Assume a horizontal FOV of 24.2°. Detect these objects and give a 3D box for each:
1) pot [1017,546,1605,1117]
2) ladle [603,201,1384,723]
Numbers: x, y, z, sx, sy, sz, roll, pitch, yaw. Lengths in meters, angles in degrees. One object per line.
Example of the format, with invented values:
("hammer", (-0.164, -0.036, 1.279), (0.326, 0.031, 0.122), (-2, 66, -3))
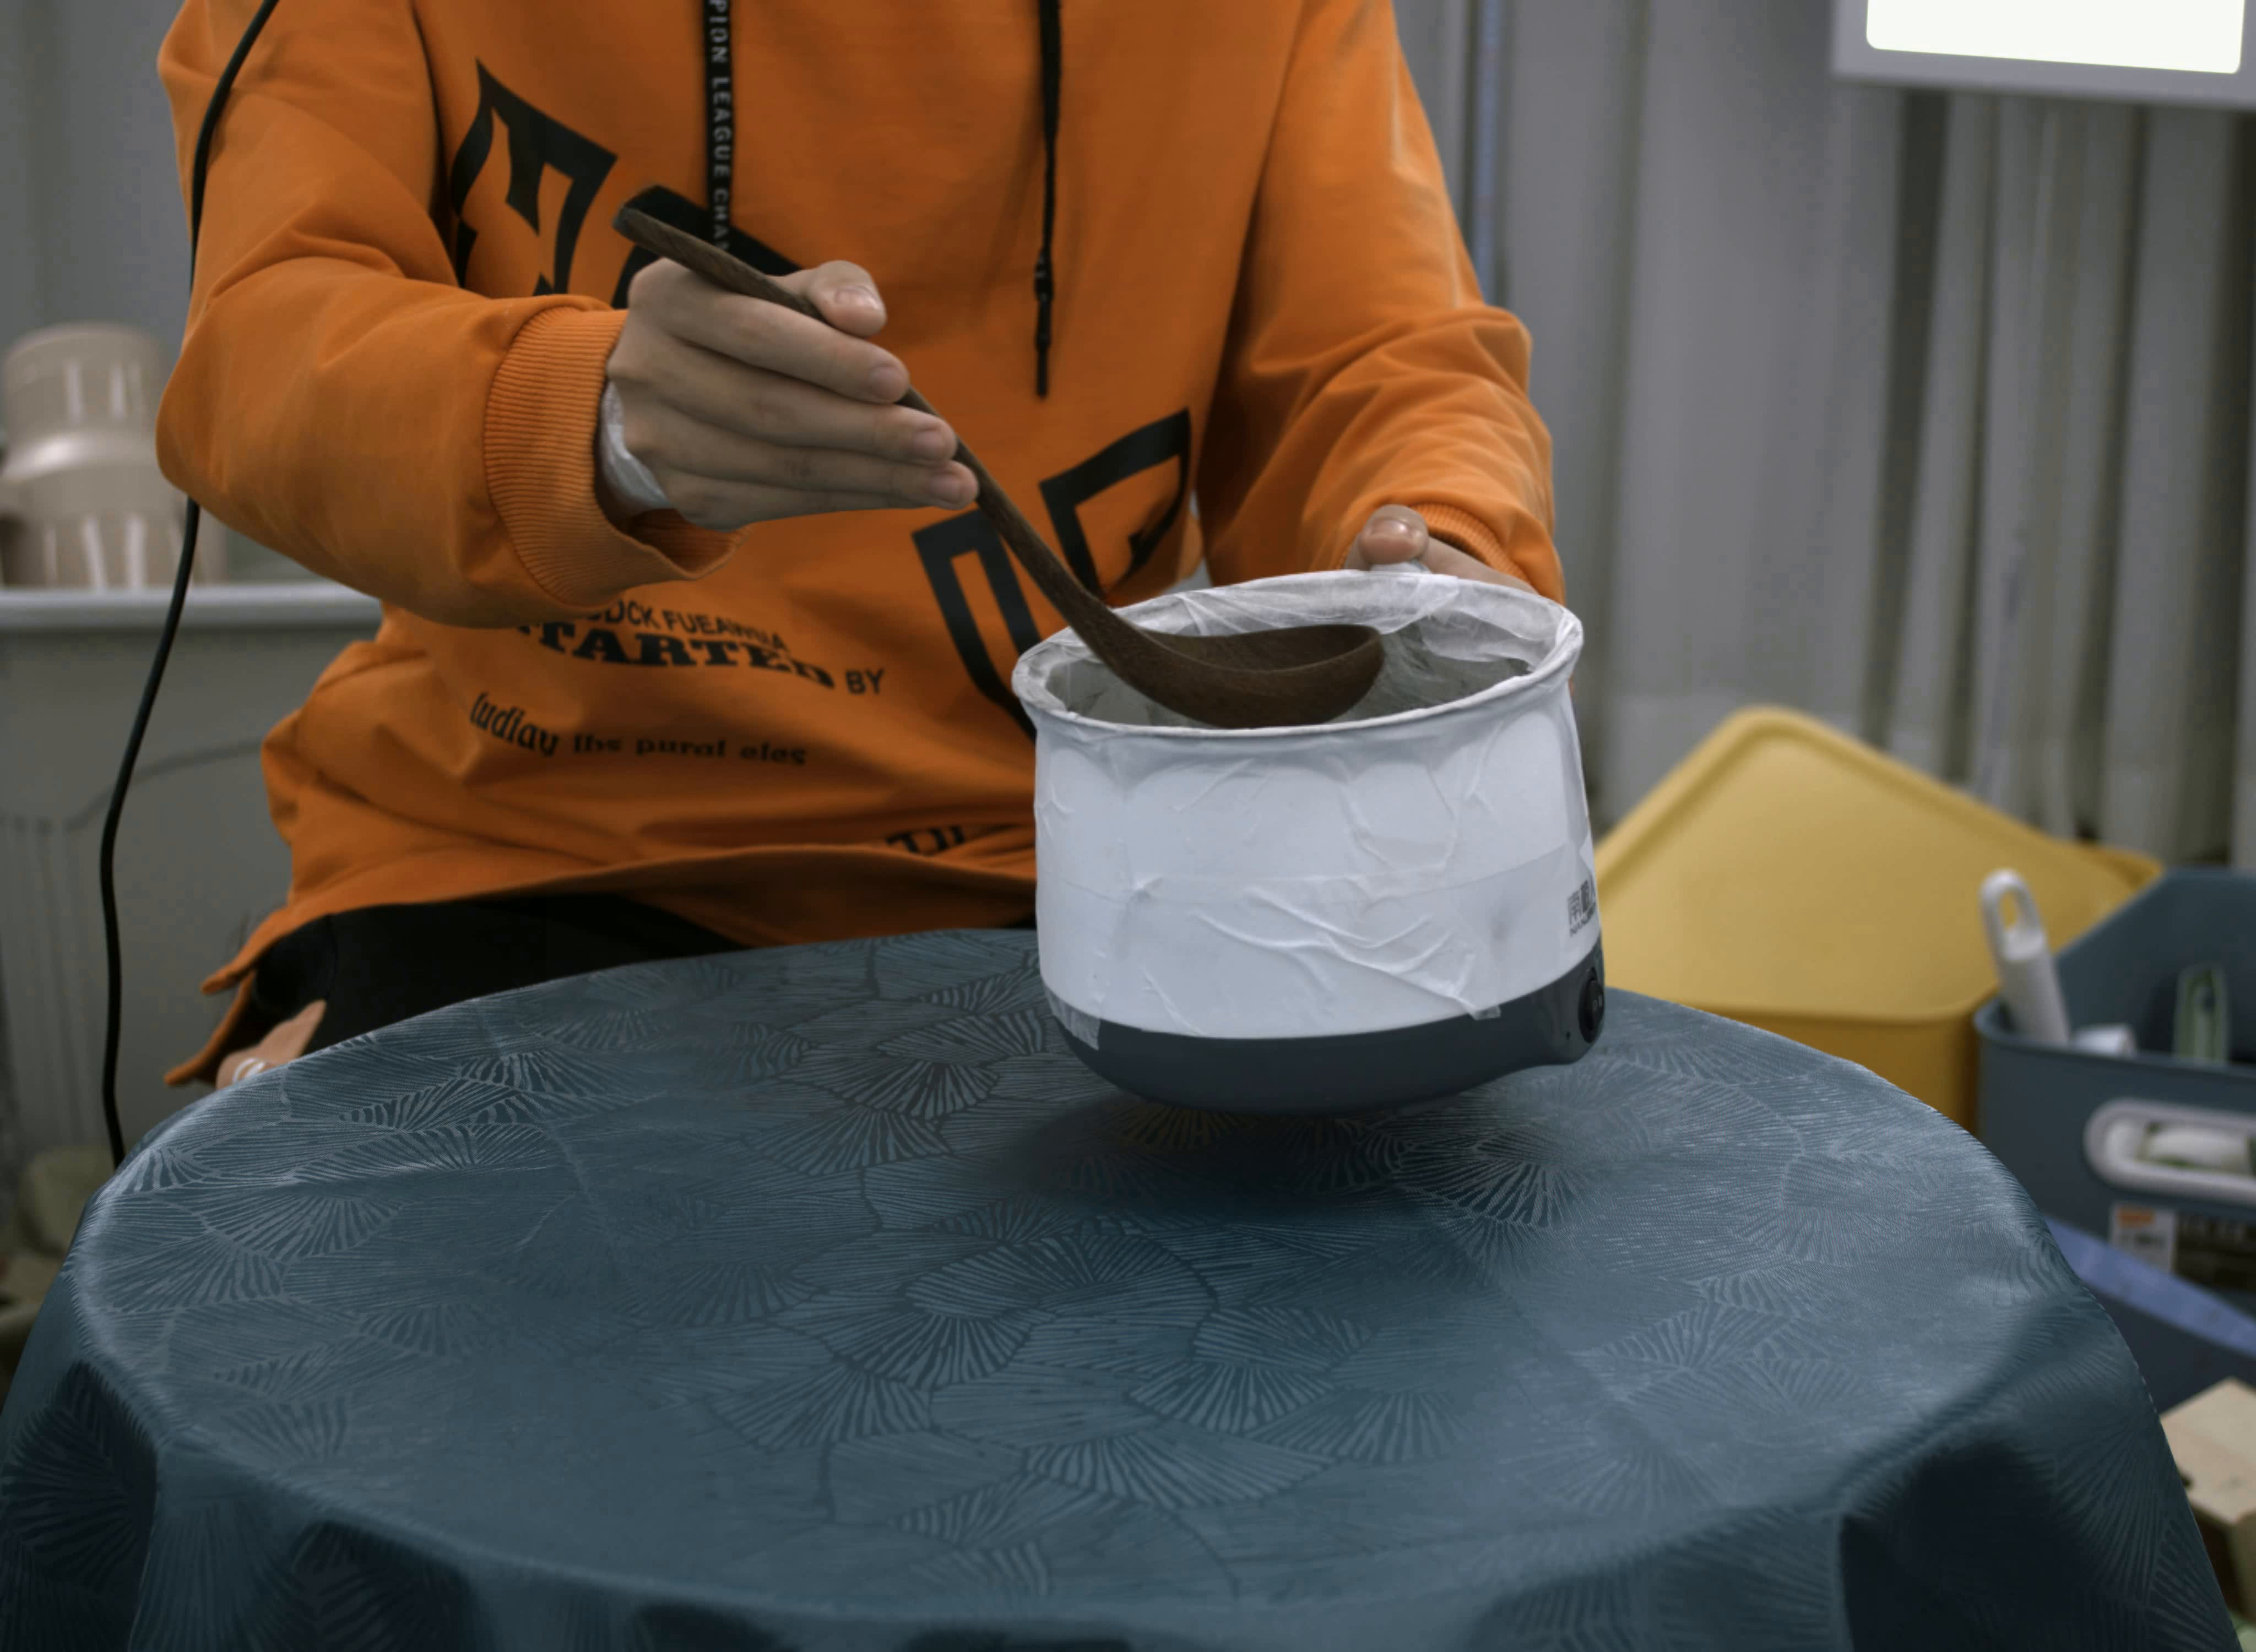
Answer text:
("pot", (0.067, -0.003, 1.667), (0.177, 0.138, 0.233), (2, 19, 19))
("ladle", (-0.036, -0.121, 1.613), (0.276, 0.071, 0.075), (42, -3, -15))
